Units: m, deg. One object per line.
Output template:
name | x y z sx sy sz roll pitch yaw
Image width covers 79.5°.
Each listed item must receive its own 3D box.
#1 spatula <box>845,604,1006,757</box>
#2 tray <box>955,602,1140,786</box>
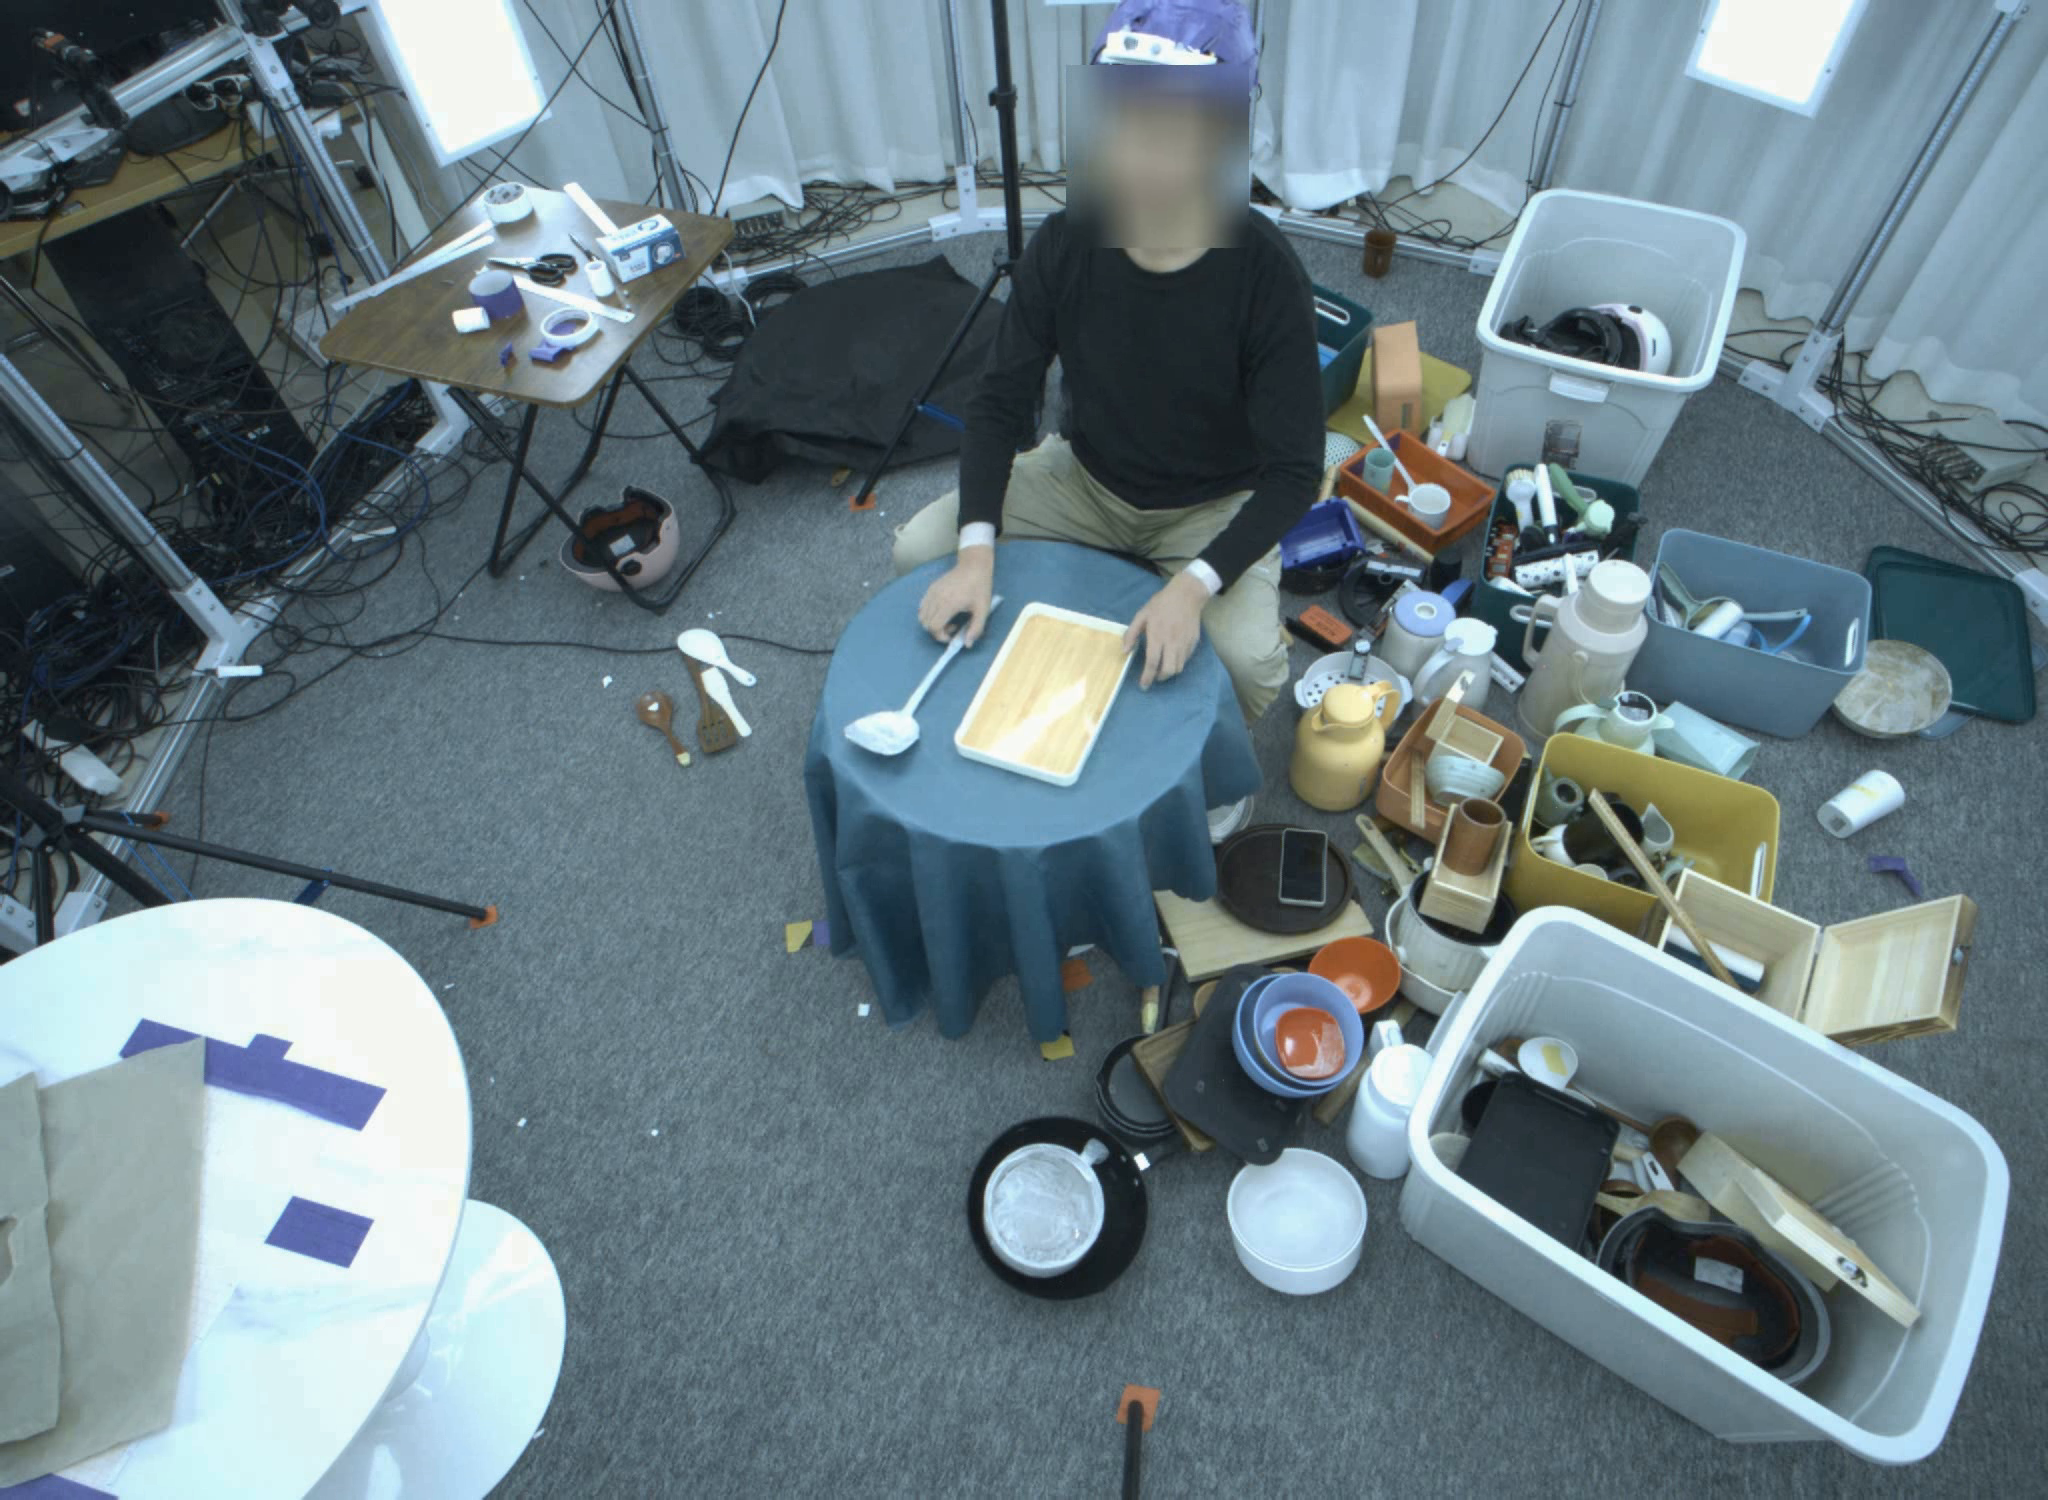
spatula | -0.133 -0.119 1.853 0.097 0.045 0.366 24 59 19
tray | 0.039 -0.089 1.833 0.189 0.028 0.300 18 57 14
